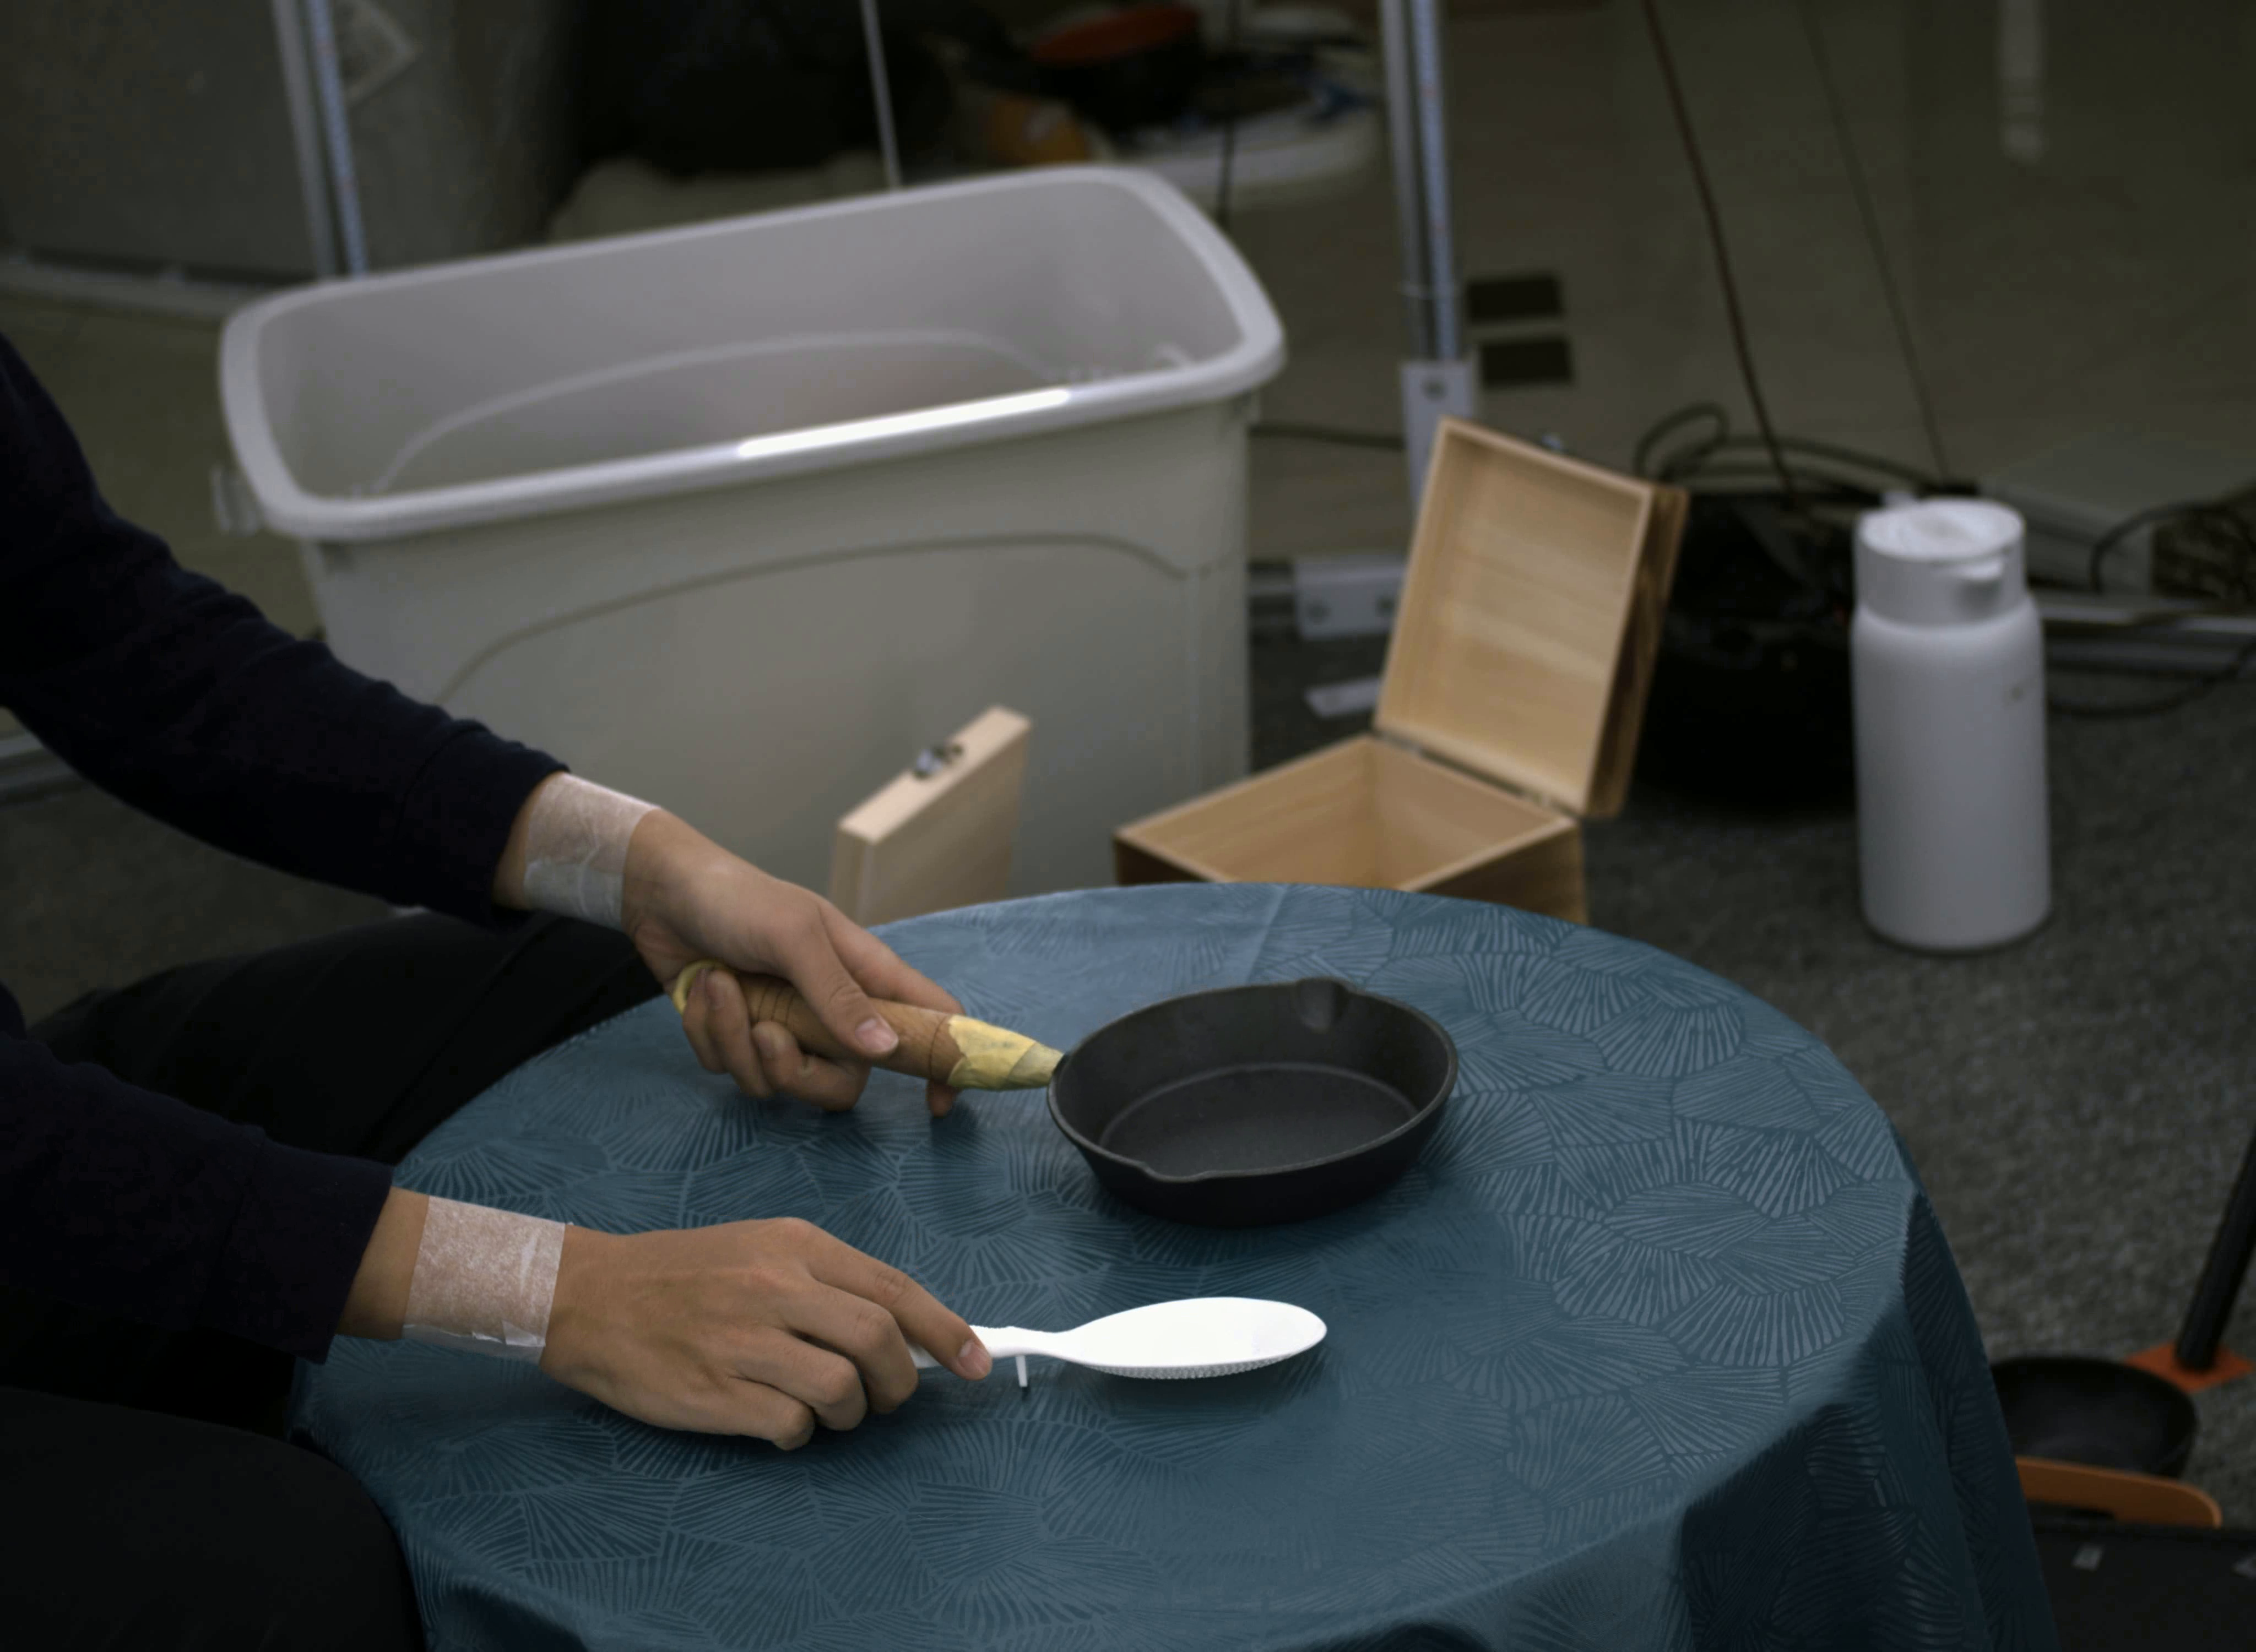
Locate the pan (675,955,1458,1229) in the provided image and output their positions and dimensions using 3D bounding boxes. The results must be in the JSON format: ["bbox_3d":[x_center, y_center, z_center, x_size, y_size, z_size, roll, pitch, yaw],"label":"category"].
[{"bbox_3d":[-0.029,0.093,2.191,0.323,0.050,0.167,8,29,24],"label":"pan"}]

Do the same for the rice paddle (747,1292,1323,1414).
[{"bbox_3d":[-0.033,0.184,2.022,0.205,0.030,0.068,-5,17,3],"label":"rice paddle"}]
